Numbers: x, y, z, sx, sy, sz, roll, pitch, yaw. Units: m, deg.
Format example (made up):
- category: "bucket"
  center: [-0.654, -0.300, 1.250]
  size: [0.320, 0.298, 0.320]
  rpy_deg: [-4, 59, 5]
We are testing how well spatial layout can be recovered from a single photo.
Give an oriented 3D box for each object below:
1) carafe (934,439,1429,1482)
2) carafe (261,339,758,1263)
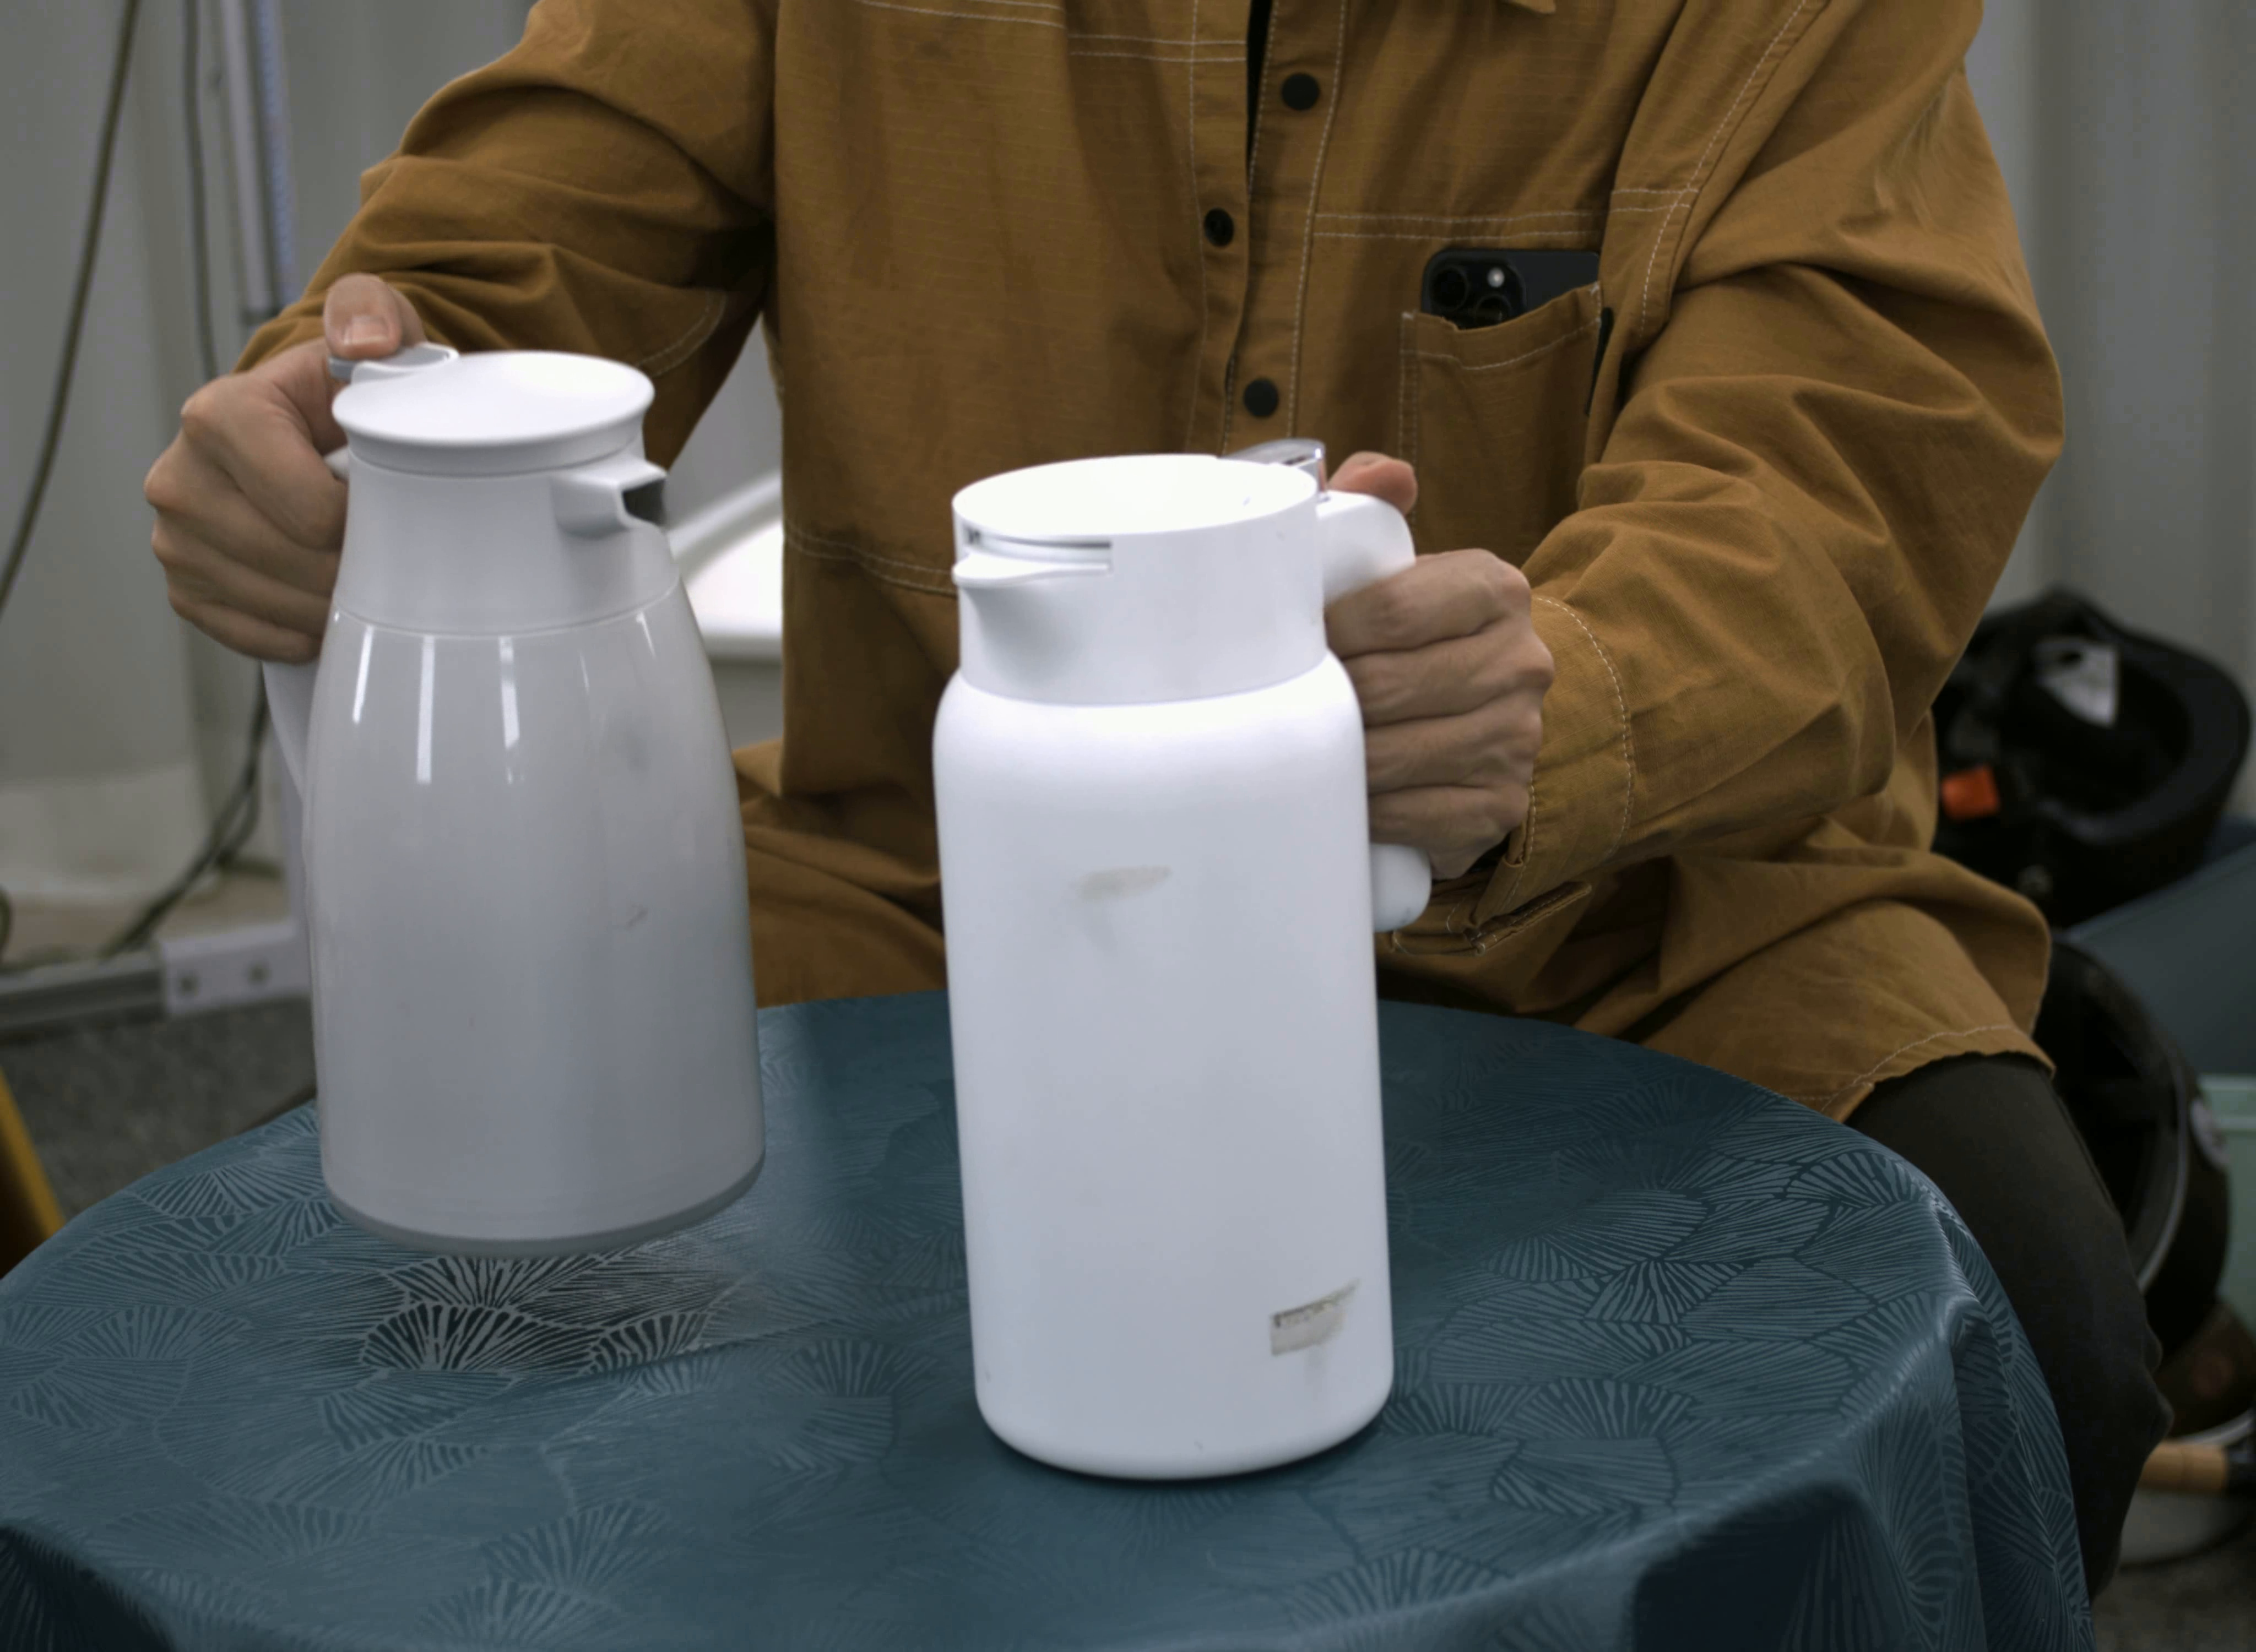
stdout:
- category: "carafe"
  center: [0.019, 0.032, 1.504]
  size: [0.124, 0.268, 0.172]
  rpy_deg: [6, 16, 40]
- category: "carafe"
  center: [-0.192, -0.016, 1.602]
  size: [0.169, 0.247, 0.132]
  rpy_deg: [14, 24, 40]
